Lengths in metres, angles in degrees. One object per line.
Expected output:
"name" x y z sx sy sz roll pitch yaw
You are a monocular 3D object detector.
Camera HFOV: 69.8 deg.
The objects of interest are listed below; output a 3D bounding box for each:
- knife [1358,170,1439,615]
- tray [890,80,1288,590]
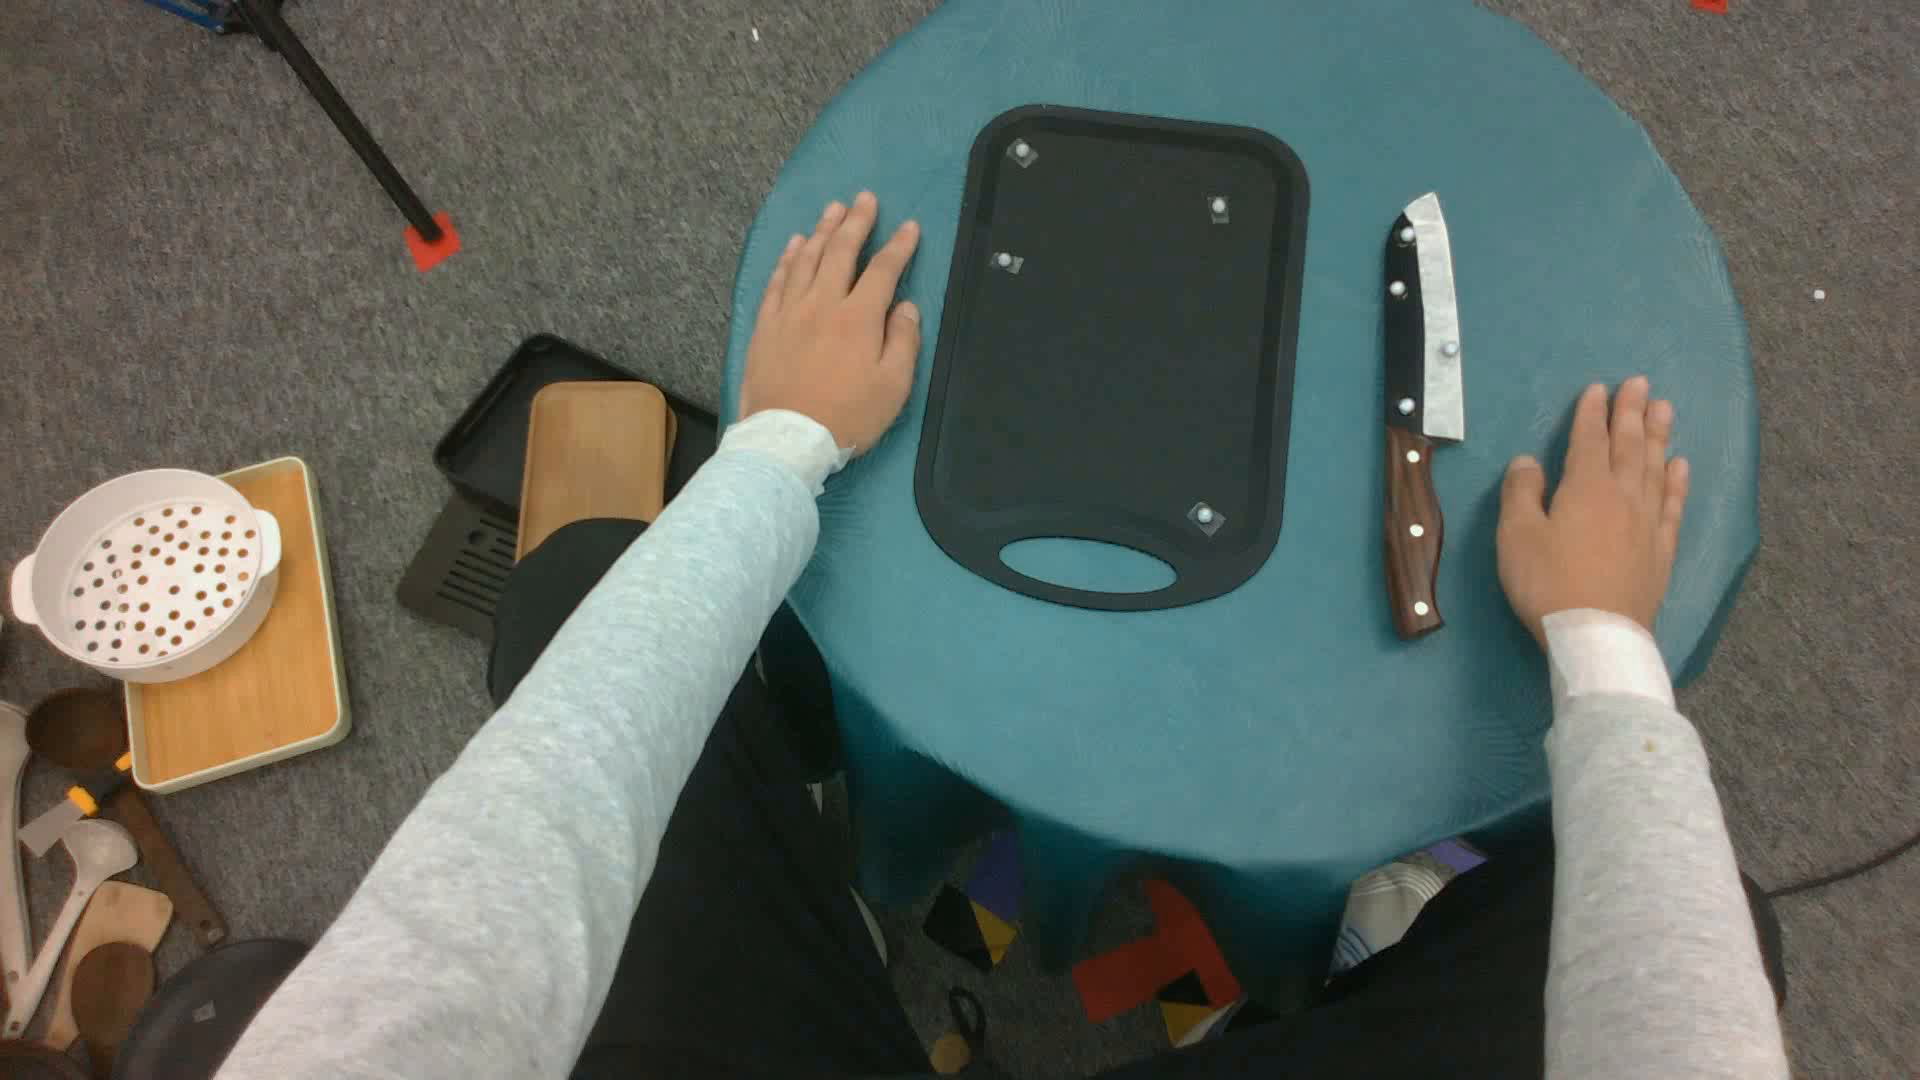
"knife" 0.251 -0.093 0.790 0.050 0.020 0.290 9 68 -3
"tray" 0.079 -0.128 0.806 0.211 0.010 0.326 8 71 3
